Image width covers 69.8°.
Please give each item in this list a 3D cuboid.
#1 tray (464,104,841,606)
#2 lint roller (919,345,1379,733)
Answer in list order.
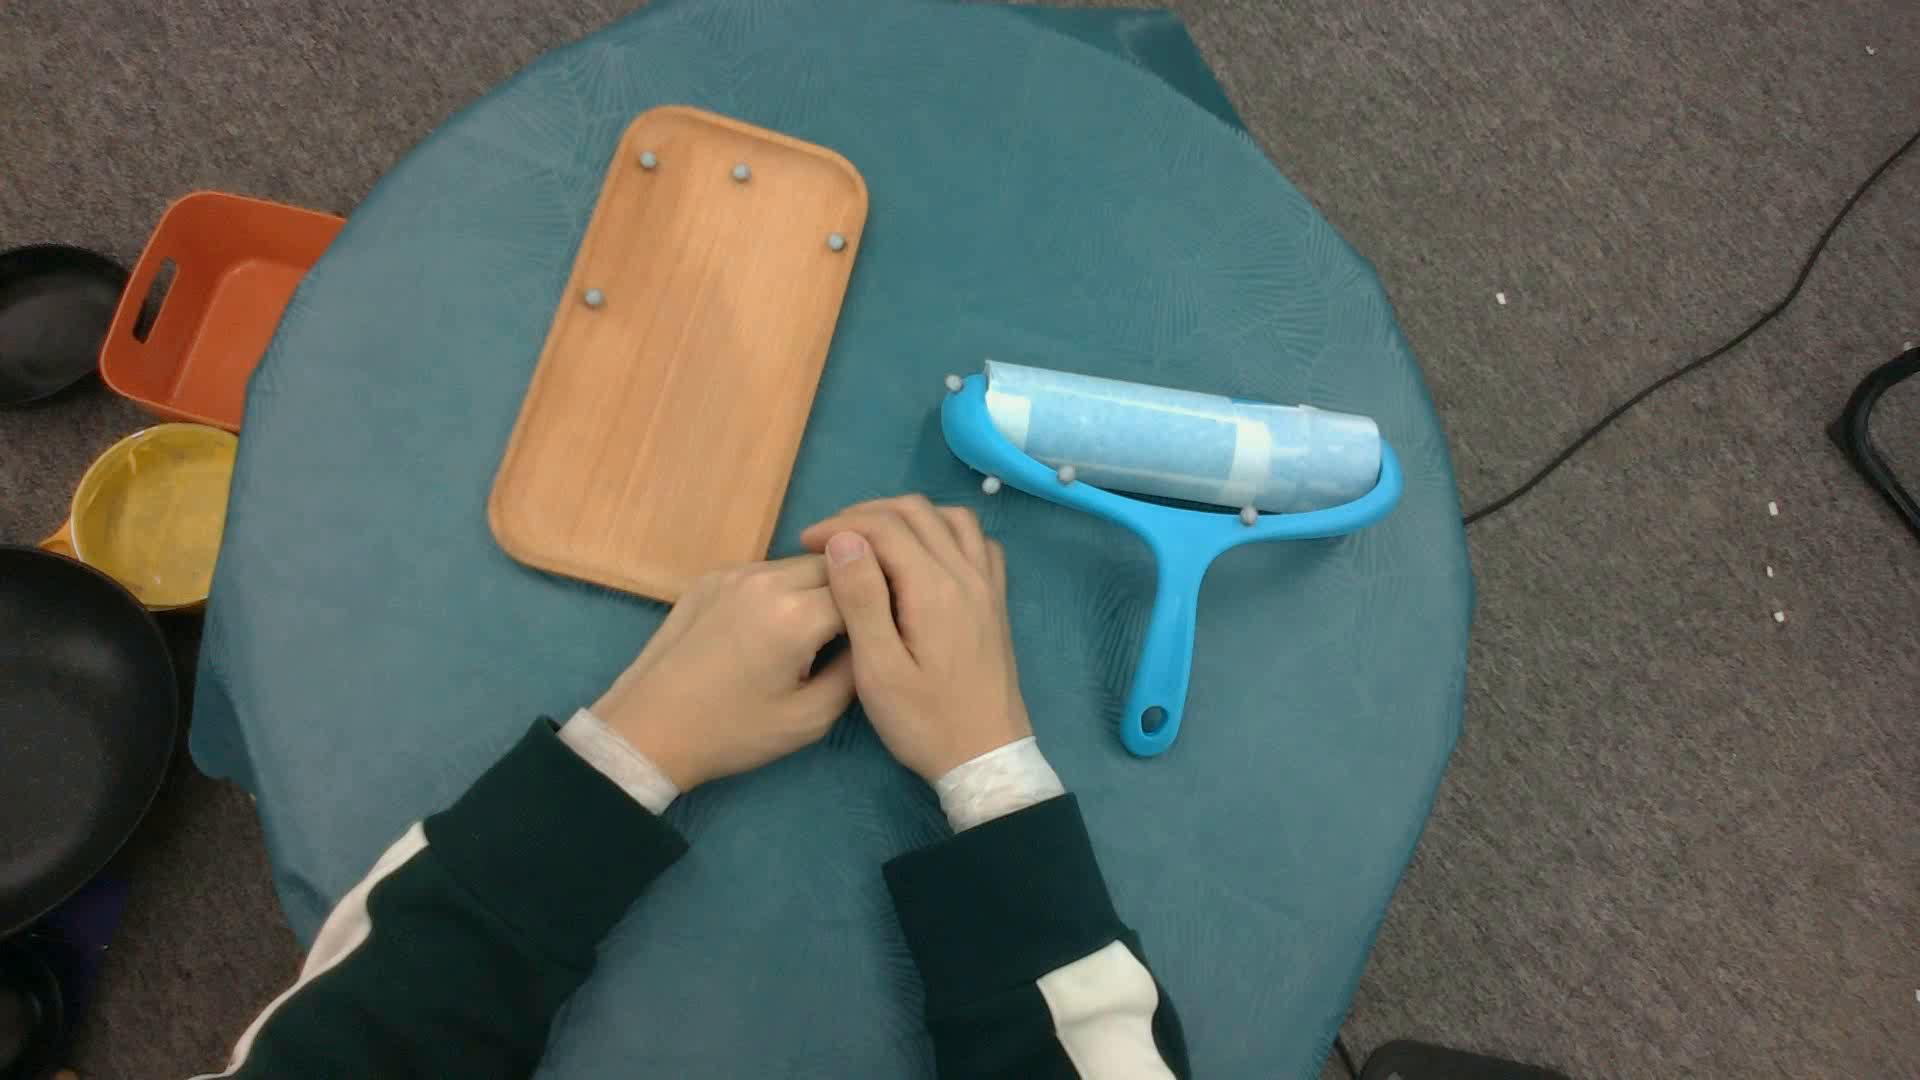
[{"bbox_3d":[-0.143,-0.094,0.666,0.130,0.023,0.251,14,71,-3],"label":"tray"},{"bbox_3d":[0.093,-0.002,0.656,0.229,0.067,0.181,4,71,-10],"label":"lint roller"}]
